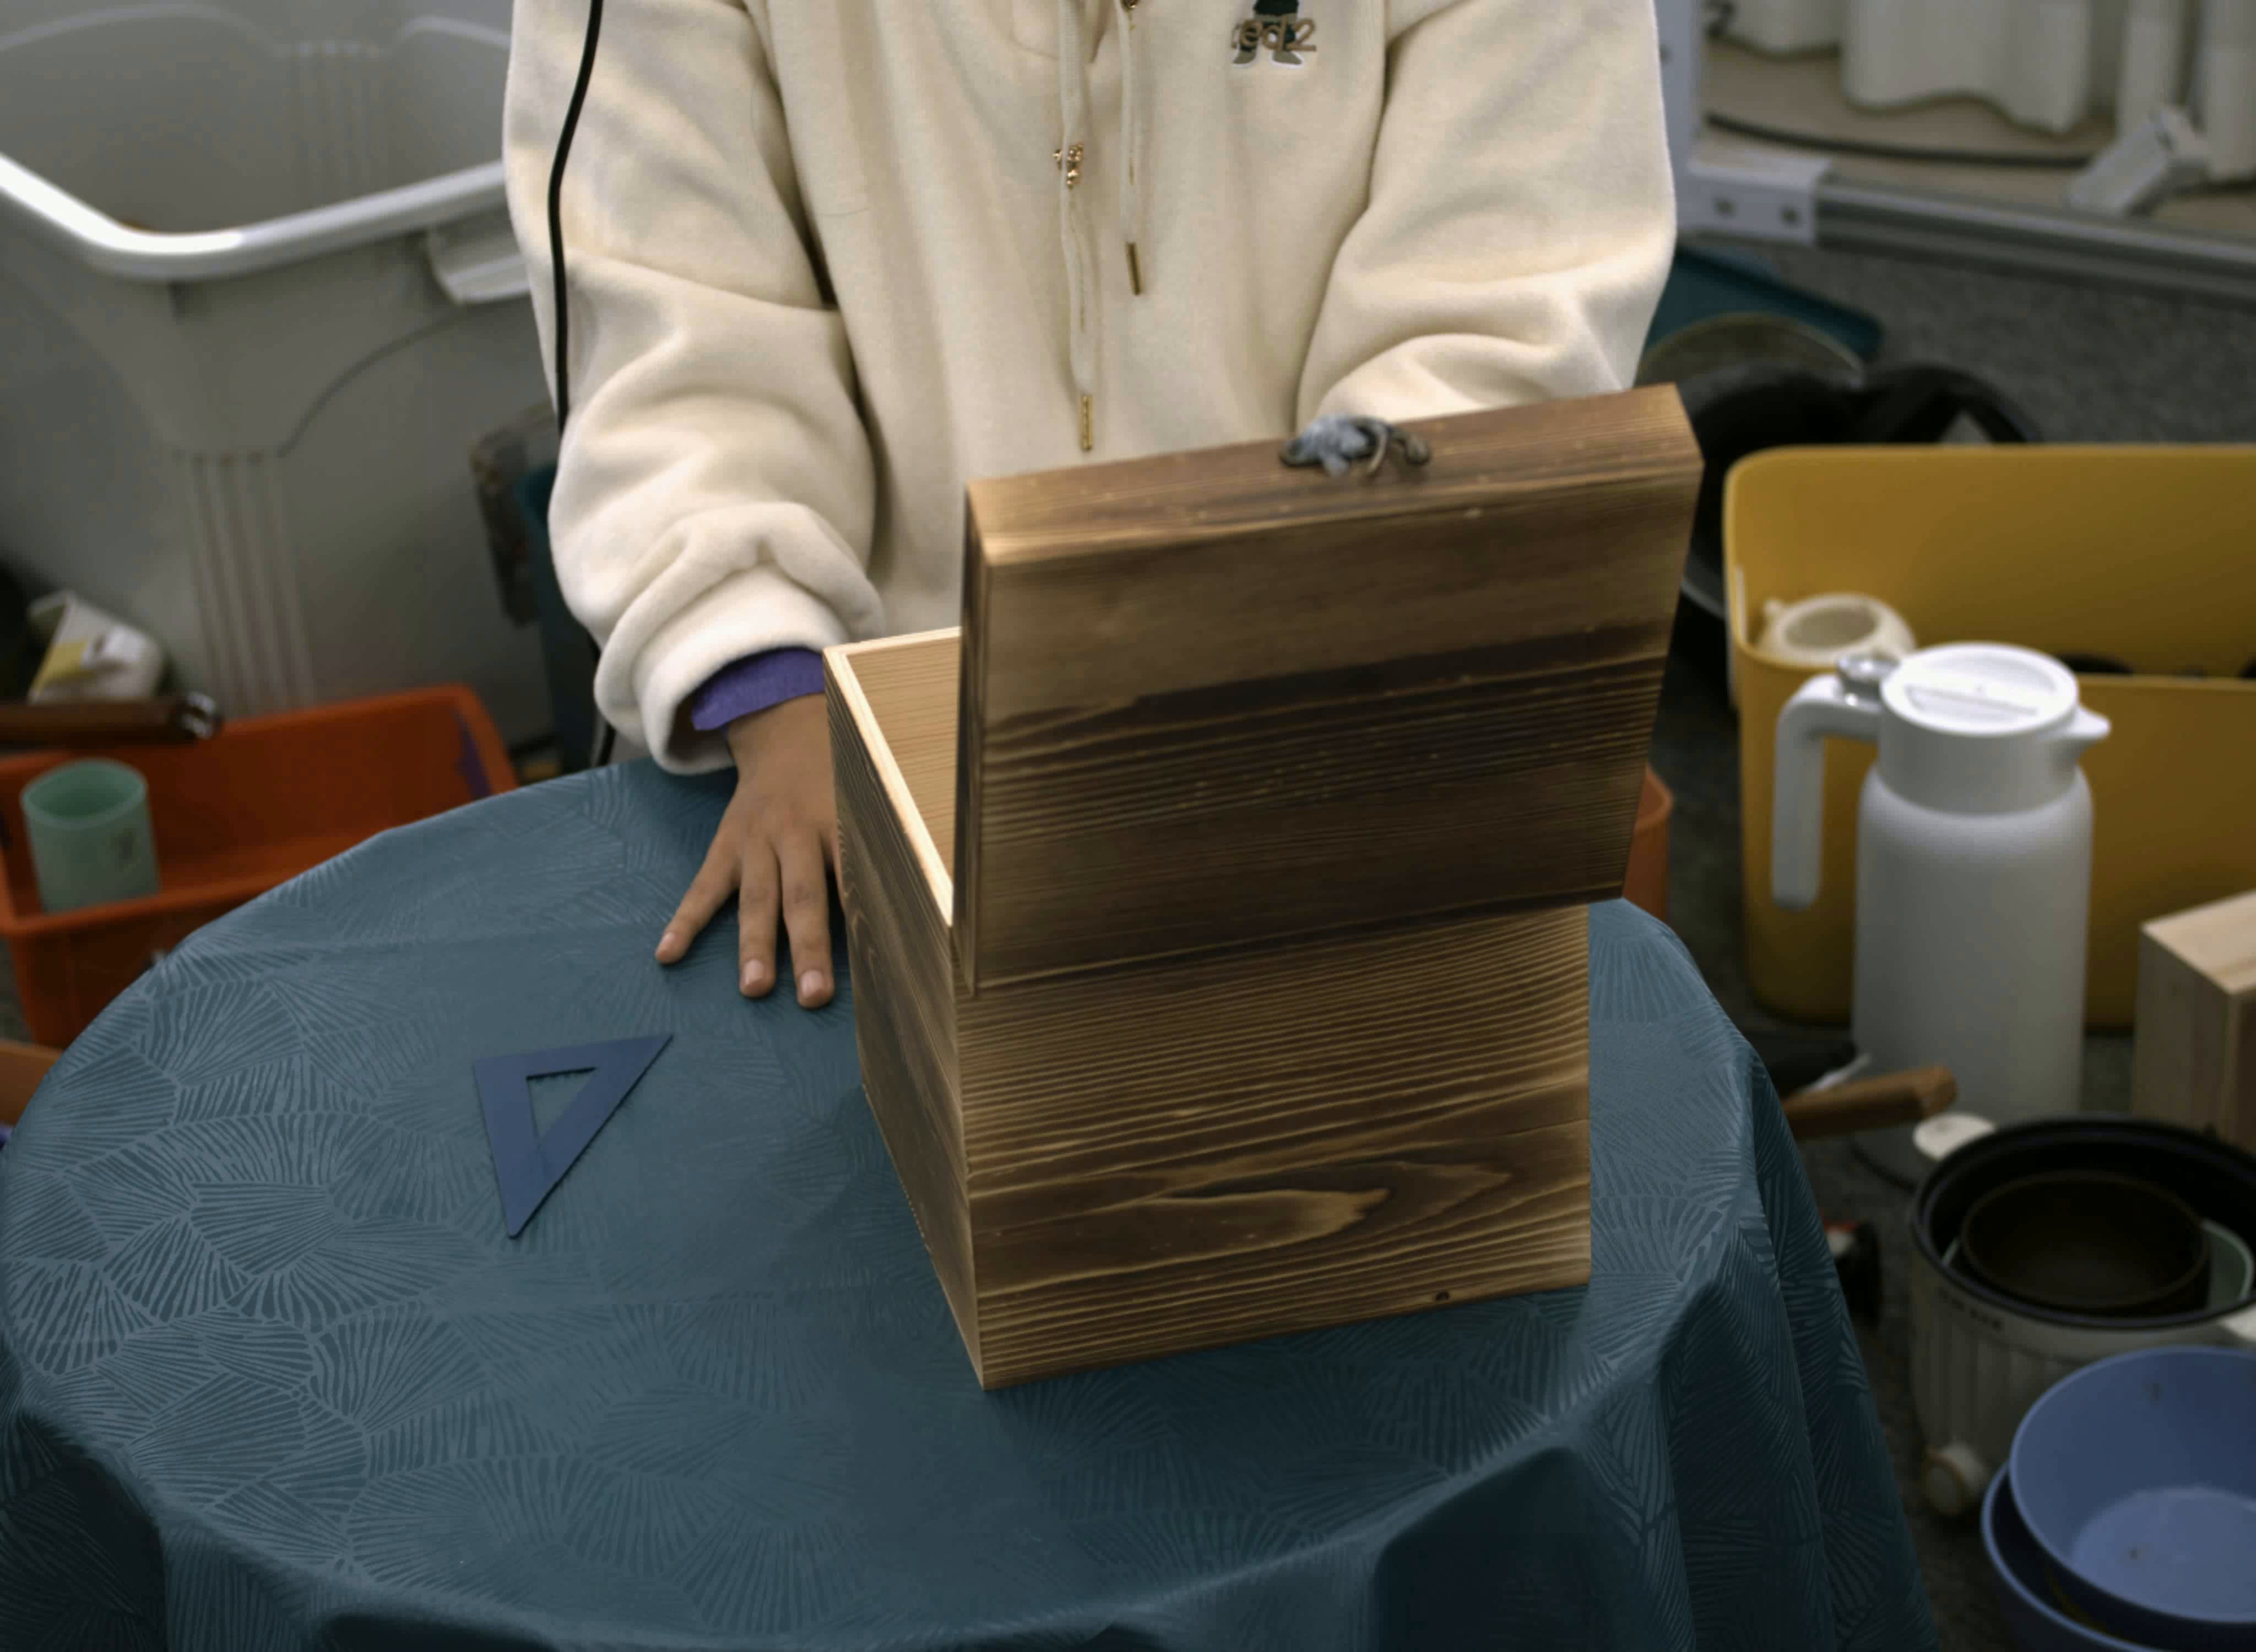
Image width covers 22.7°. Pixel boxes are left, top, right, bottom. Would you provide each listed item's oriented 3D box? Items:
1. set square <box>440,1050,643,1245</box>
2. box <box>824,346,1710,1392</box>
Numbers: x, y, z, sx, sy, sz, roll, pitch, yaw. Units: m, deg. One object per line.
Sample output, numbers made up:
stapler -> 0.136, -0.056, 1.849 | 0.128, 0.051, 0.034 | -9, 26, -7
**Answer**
set square -> -0.218, 0.104, 1.911 | 0.061, 0.006, 0.134 | 11, 30, 19
box -> 0.033, -0.017, 1.742 | 0.208, 0.371, 0.326 | -8, 28, -11
